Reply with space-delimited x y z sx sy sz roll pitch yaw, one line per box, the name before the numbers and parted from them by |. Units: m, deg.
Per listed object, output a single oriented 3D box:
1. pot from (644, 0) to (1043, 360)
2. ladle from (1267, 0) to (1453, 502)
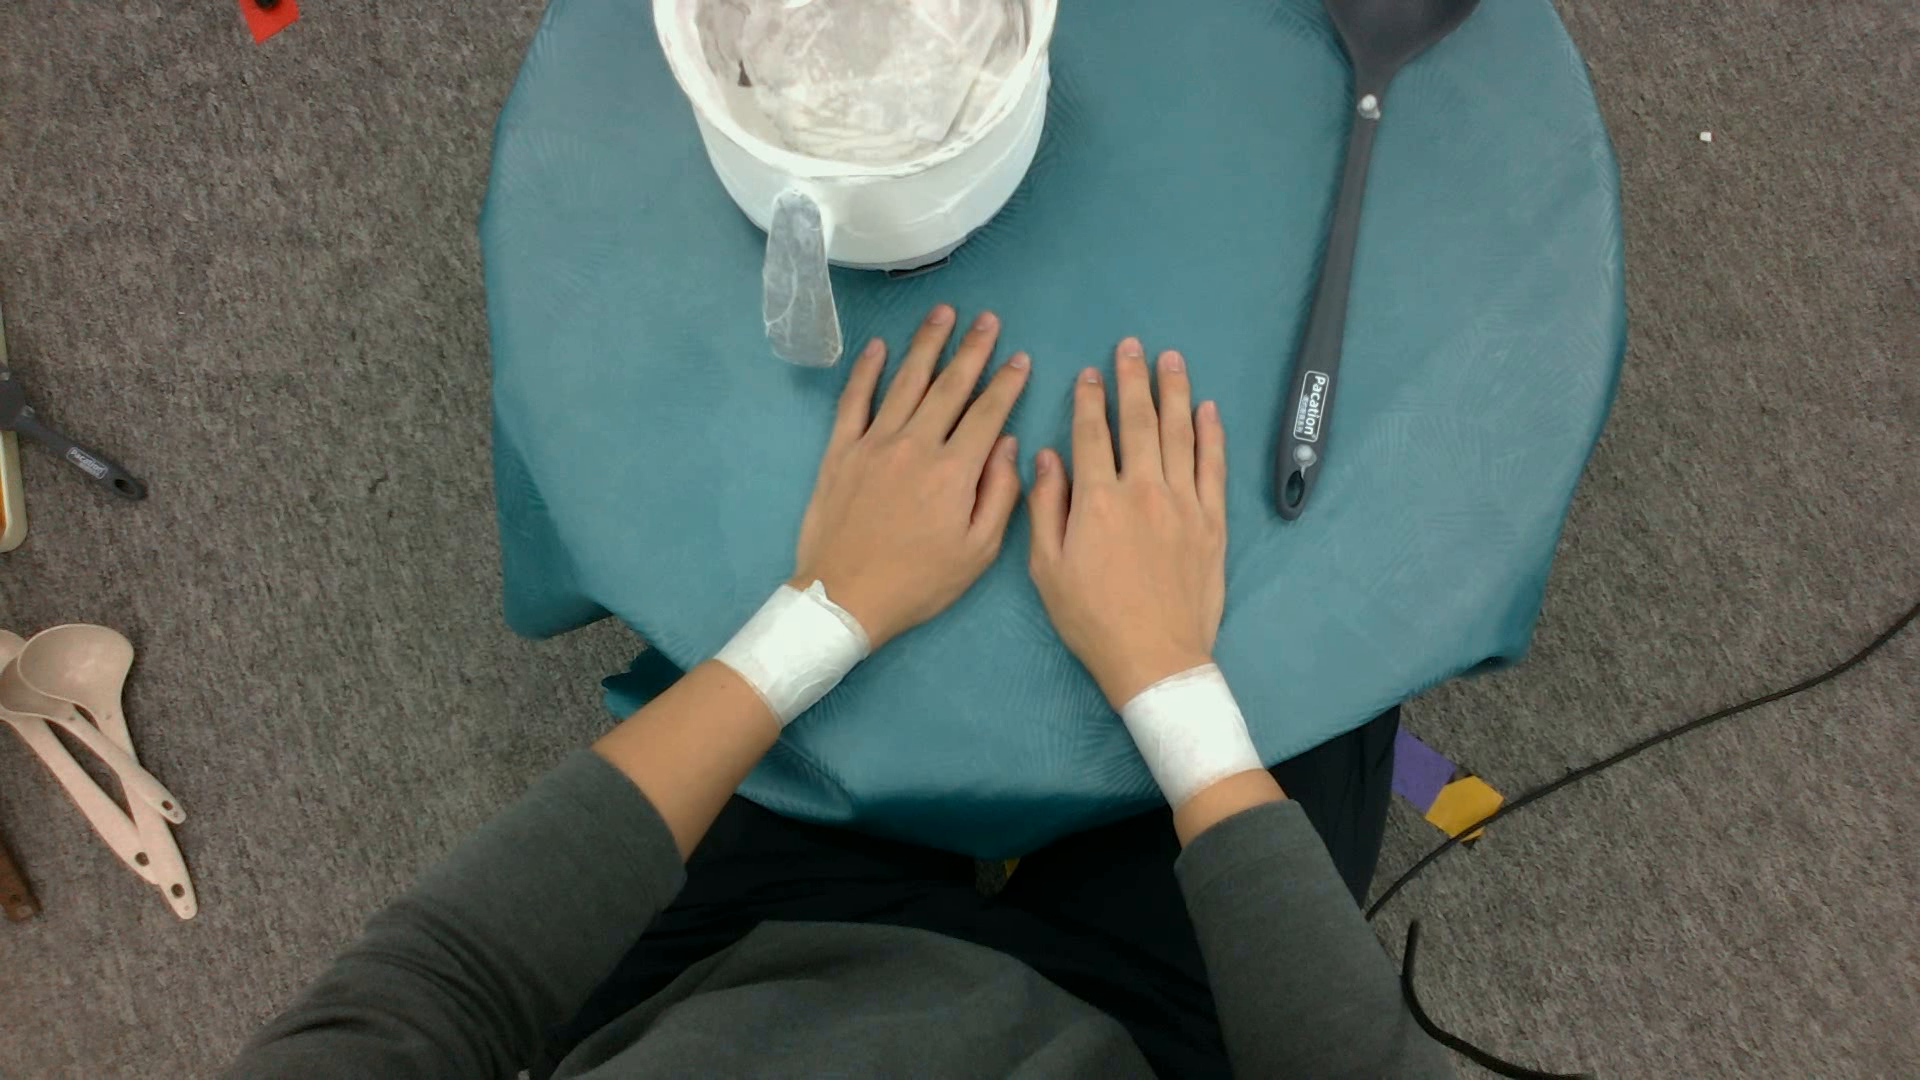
pot | -0.057 -0.208 0.665 0.179 0.136 0.234 13 81 2
ladle | 0.194 -0.175 0.698 0.086 0.064 0.314 11 81 6
